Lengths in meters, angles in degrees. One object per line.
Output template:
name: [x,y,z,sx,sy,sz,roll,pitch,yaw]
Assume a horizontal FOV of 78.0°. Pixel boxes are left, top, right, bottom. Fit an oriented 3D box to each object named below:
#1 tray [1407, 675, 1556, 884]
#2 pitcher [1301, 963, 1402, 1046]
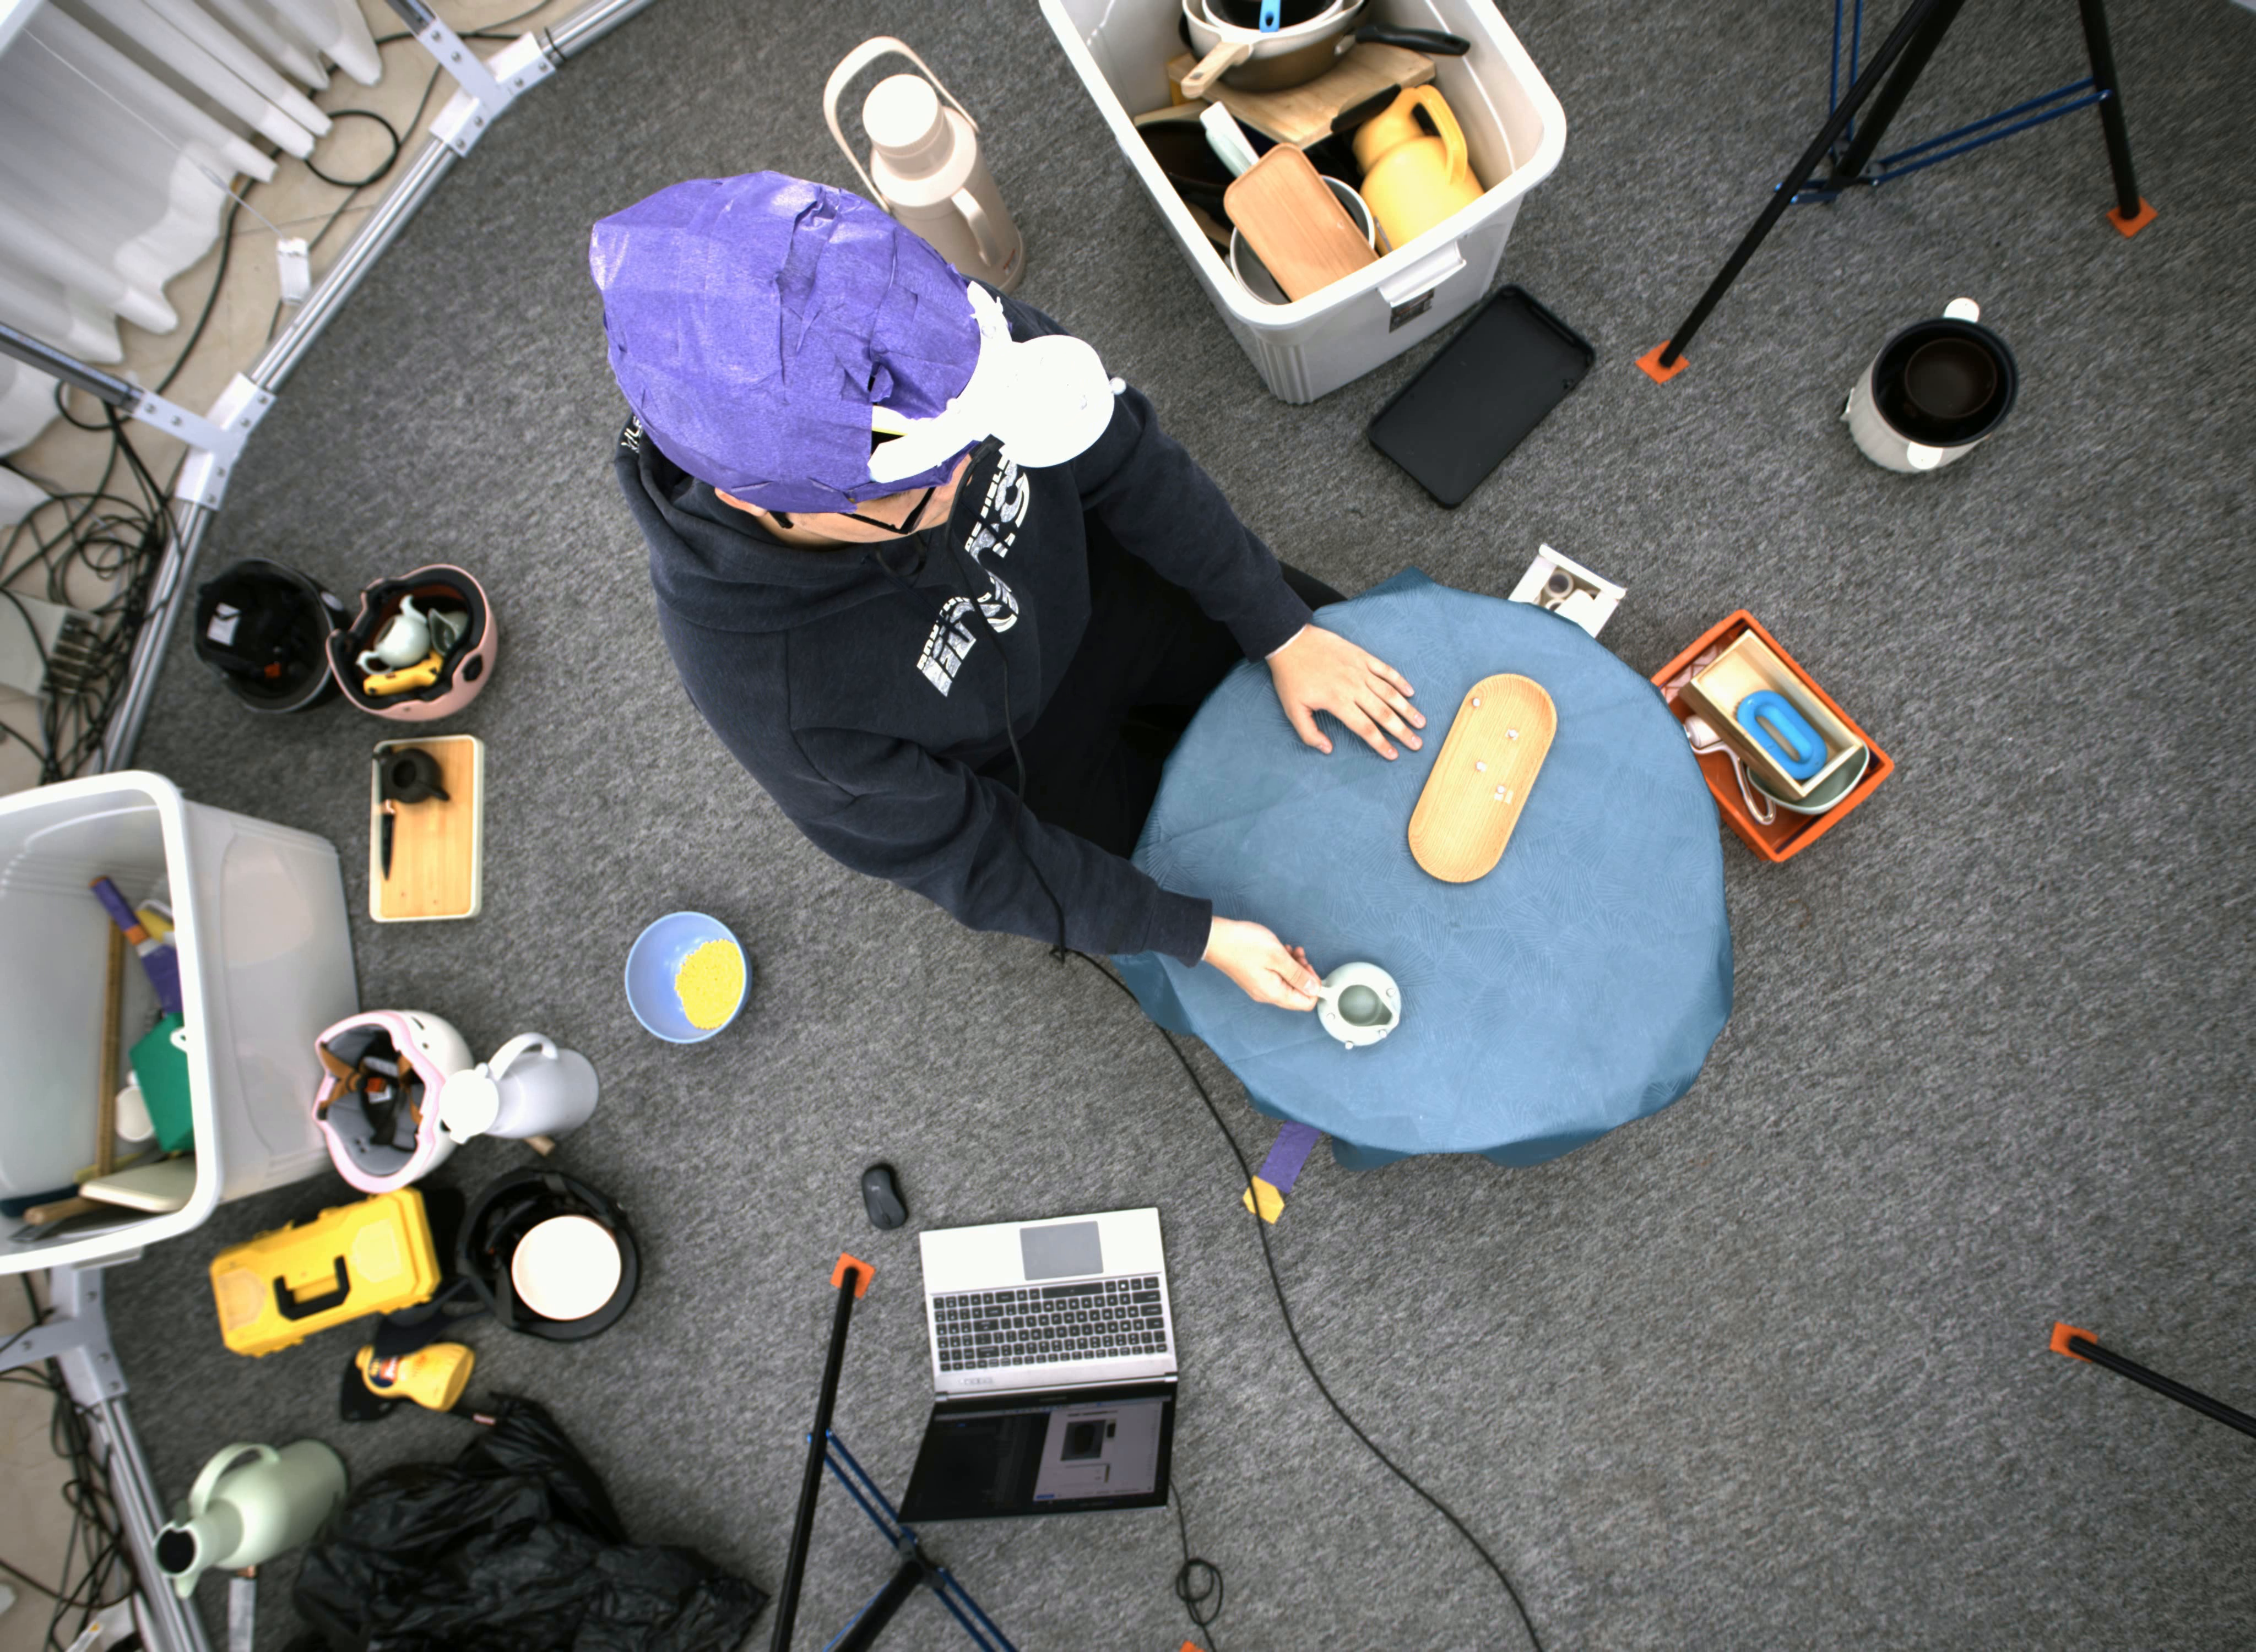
tray: [0.370,-0.051,1.441,0.101,0.020,0.231,24,93,13]
pitcher: [0.229,0.179,1.429,0.108,0.060,0.086,20,90,9]
